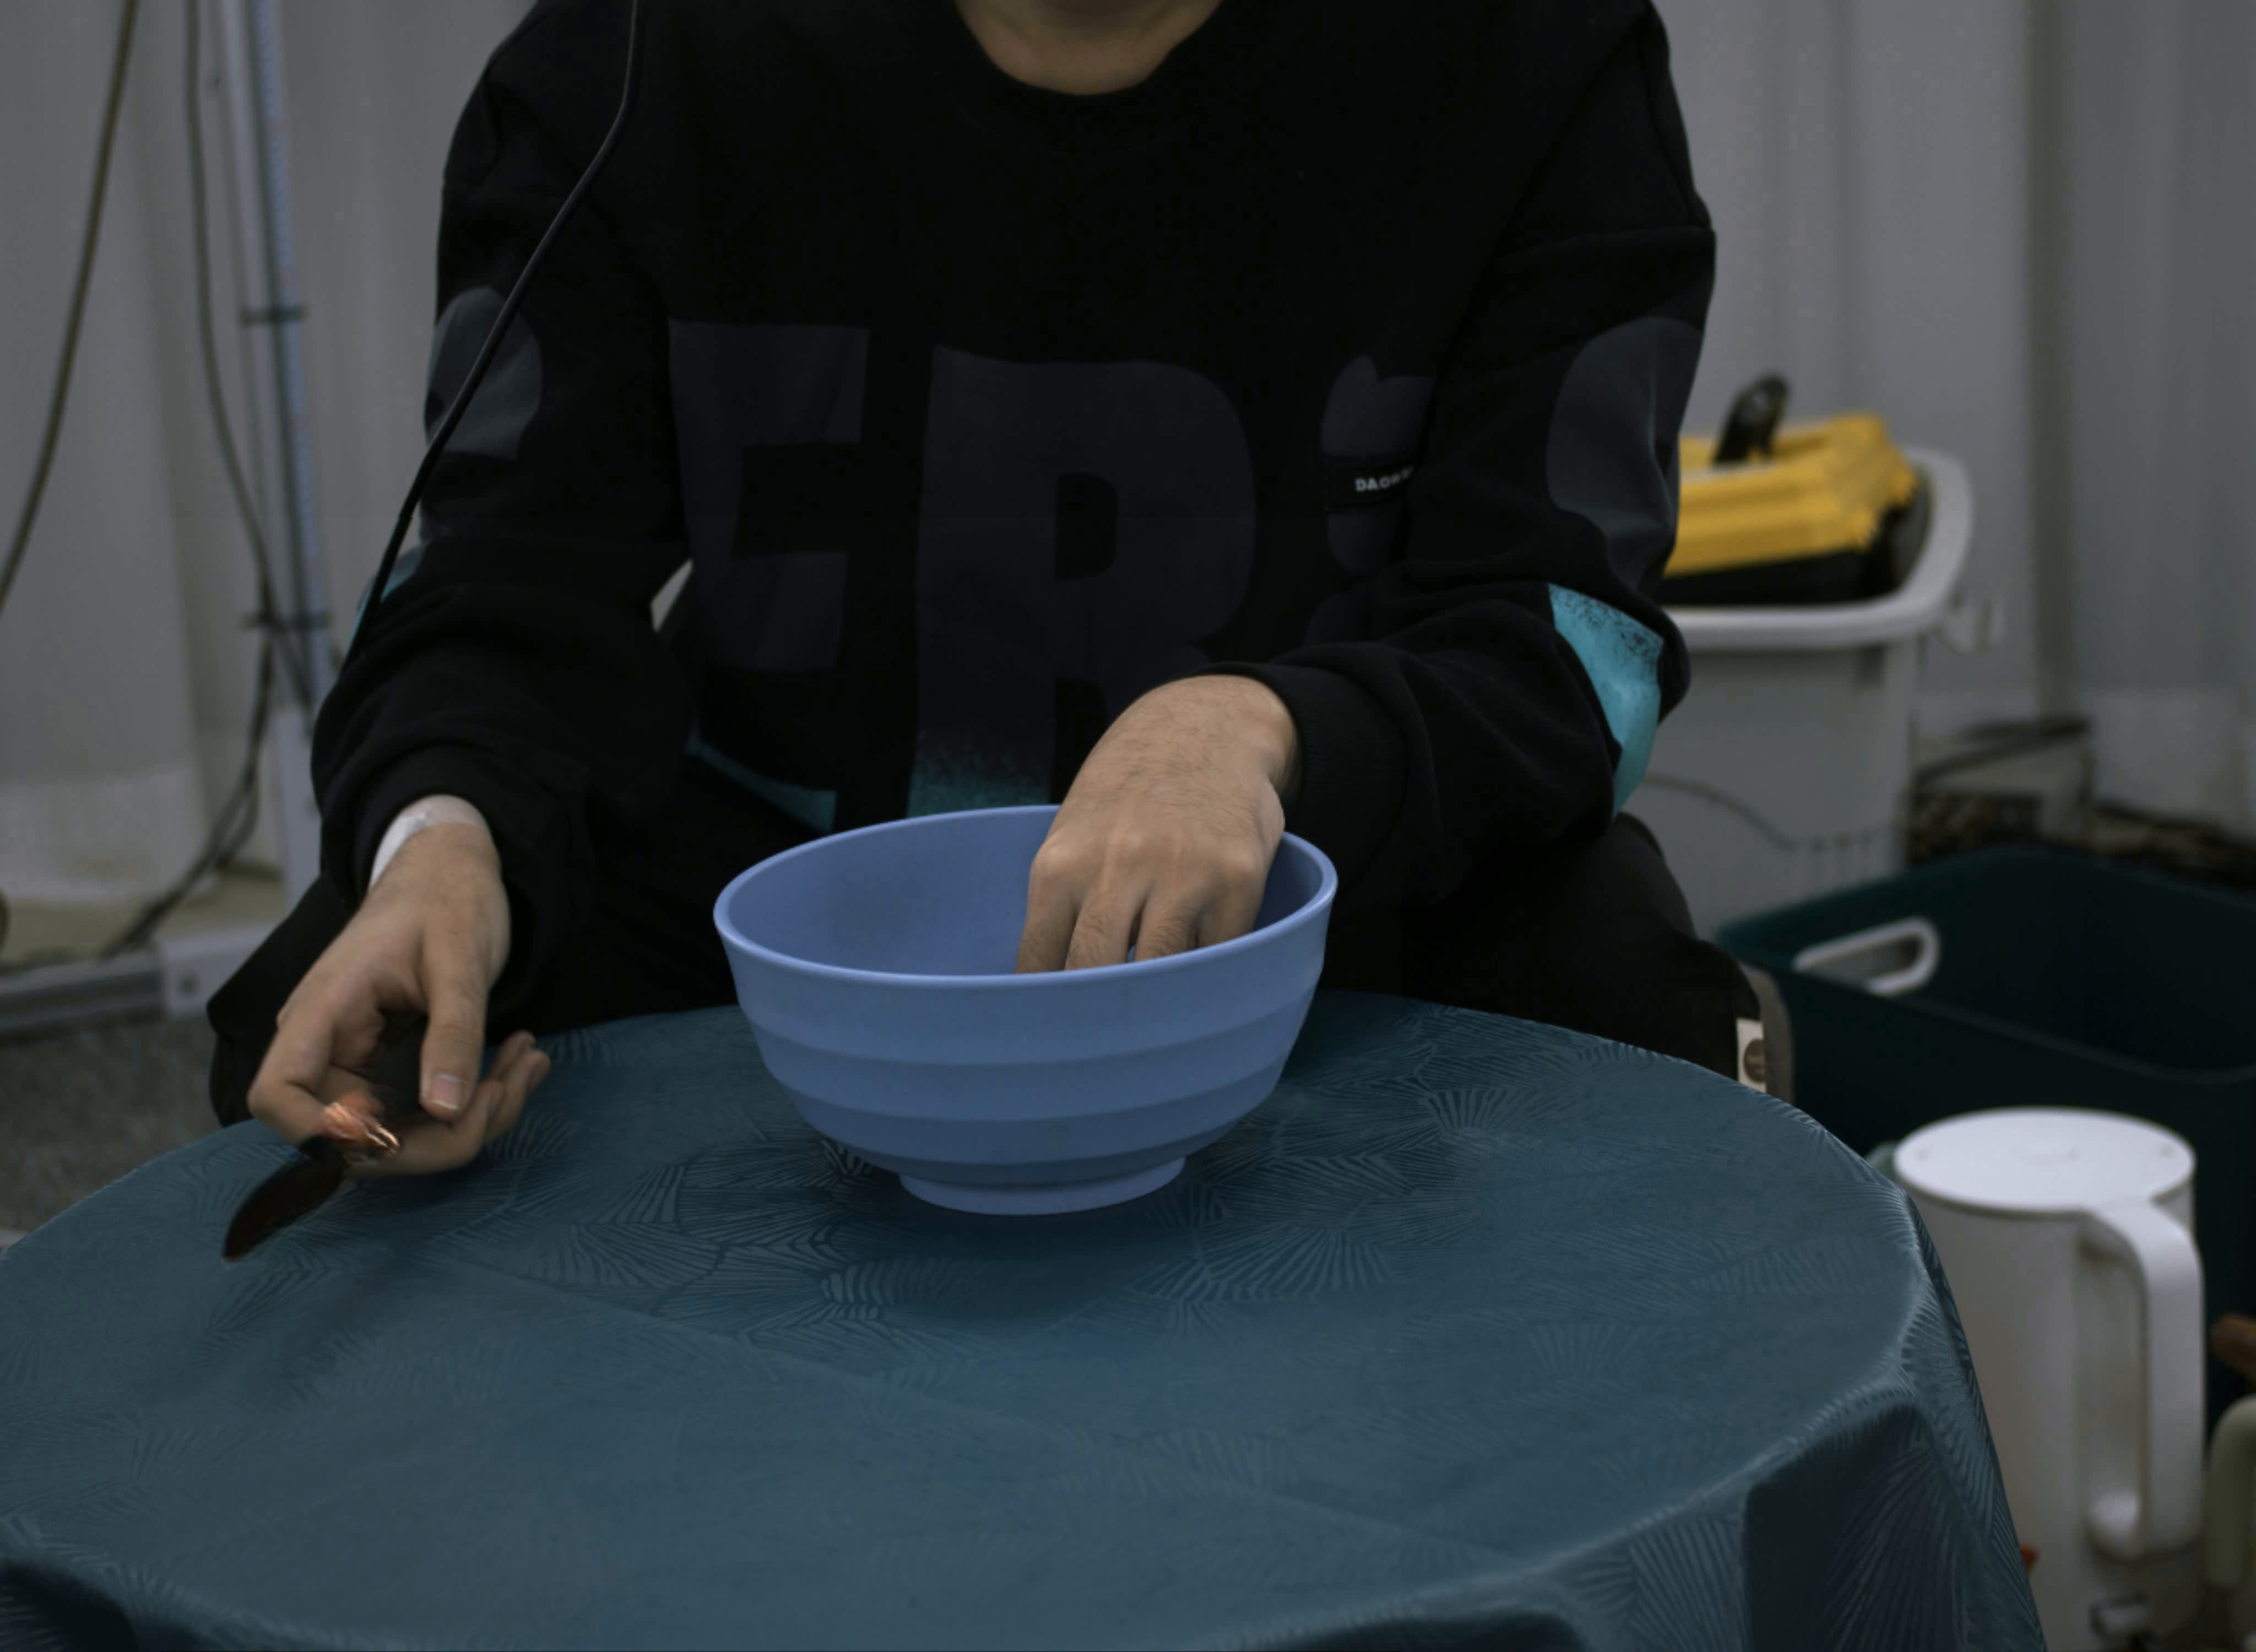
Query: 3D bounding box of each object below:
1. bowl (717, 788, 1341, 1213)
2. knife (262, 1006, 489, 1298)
[{"bbox_3d":[-0.029,0.062,1.727,0.196,0.095,0.198,-2,18,0],"label":"bowl"},{"bbox_3d":[-0.234,0.099,1.684,0.026,0.017,0.227,26,20,1],"label":"knife"}]
